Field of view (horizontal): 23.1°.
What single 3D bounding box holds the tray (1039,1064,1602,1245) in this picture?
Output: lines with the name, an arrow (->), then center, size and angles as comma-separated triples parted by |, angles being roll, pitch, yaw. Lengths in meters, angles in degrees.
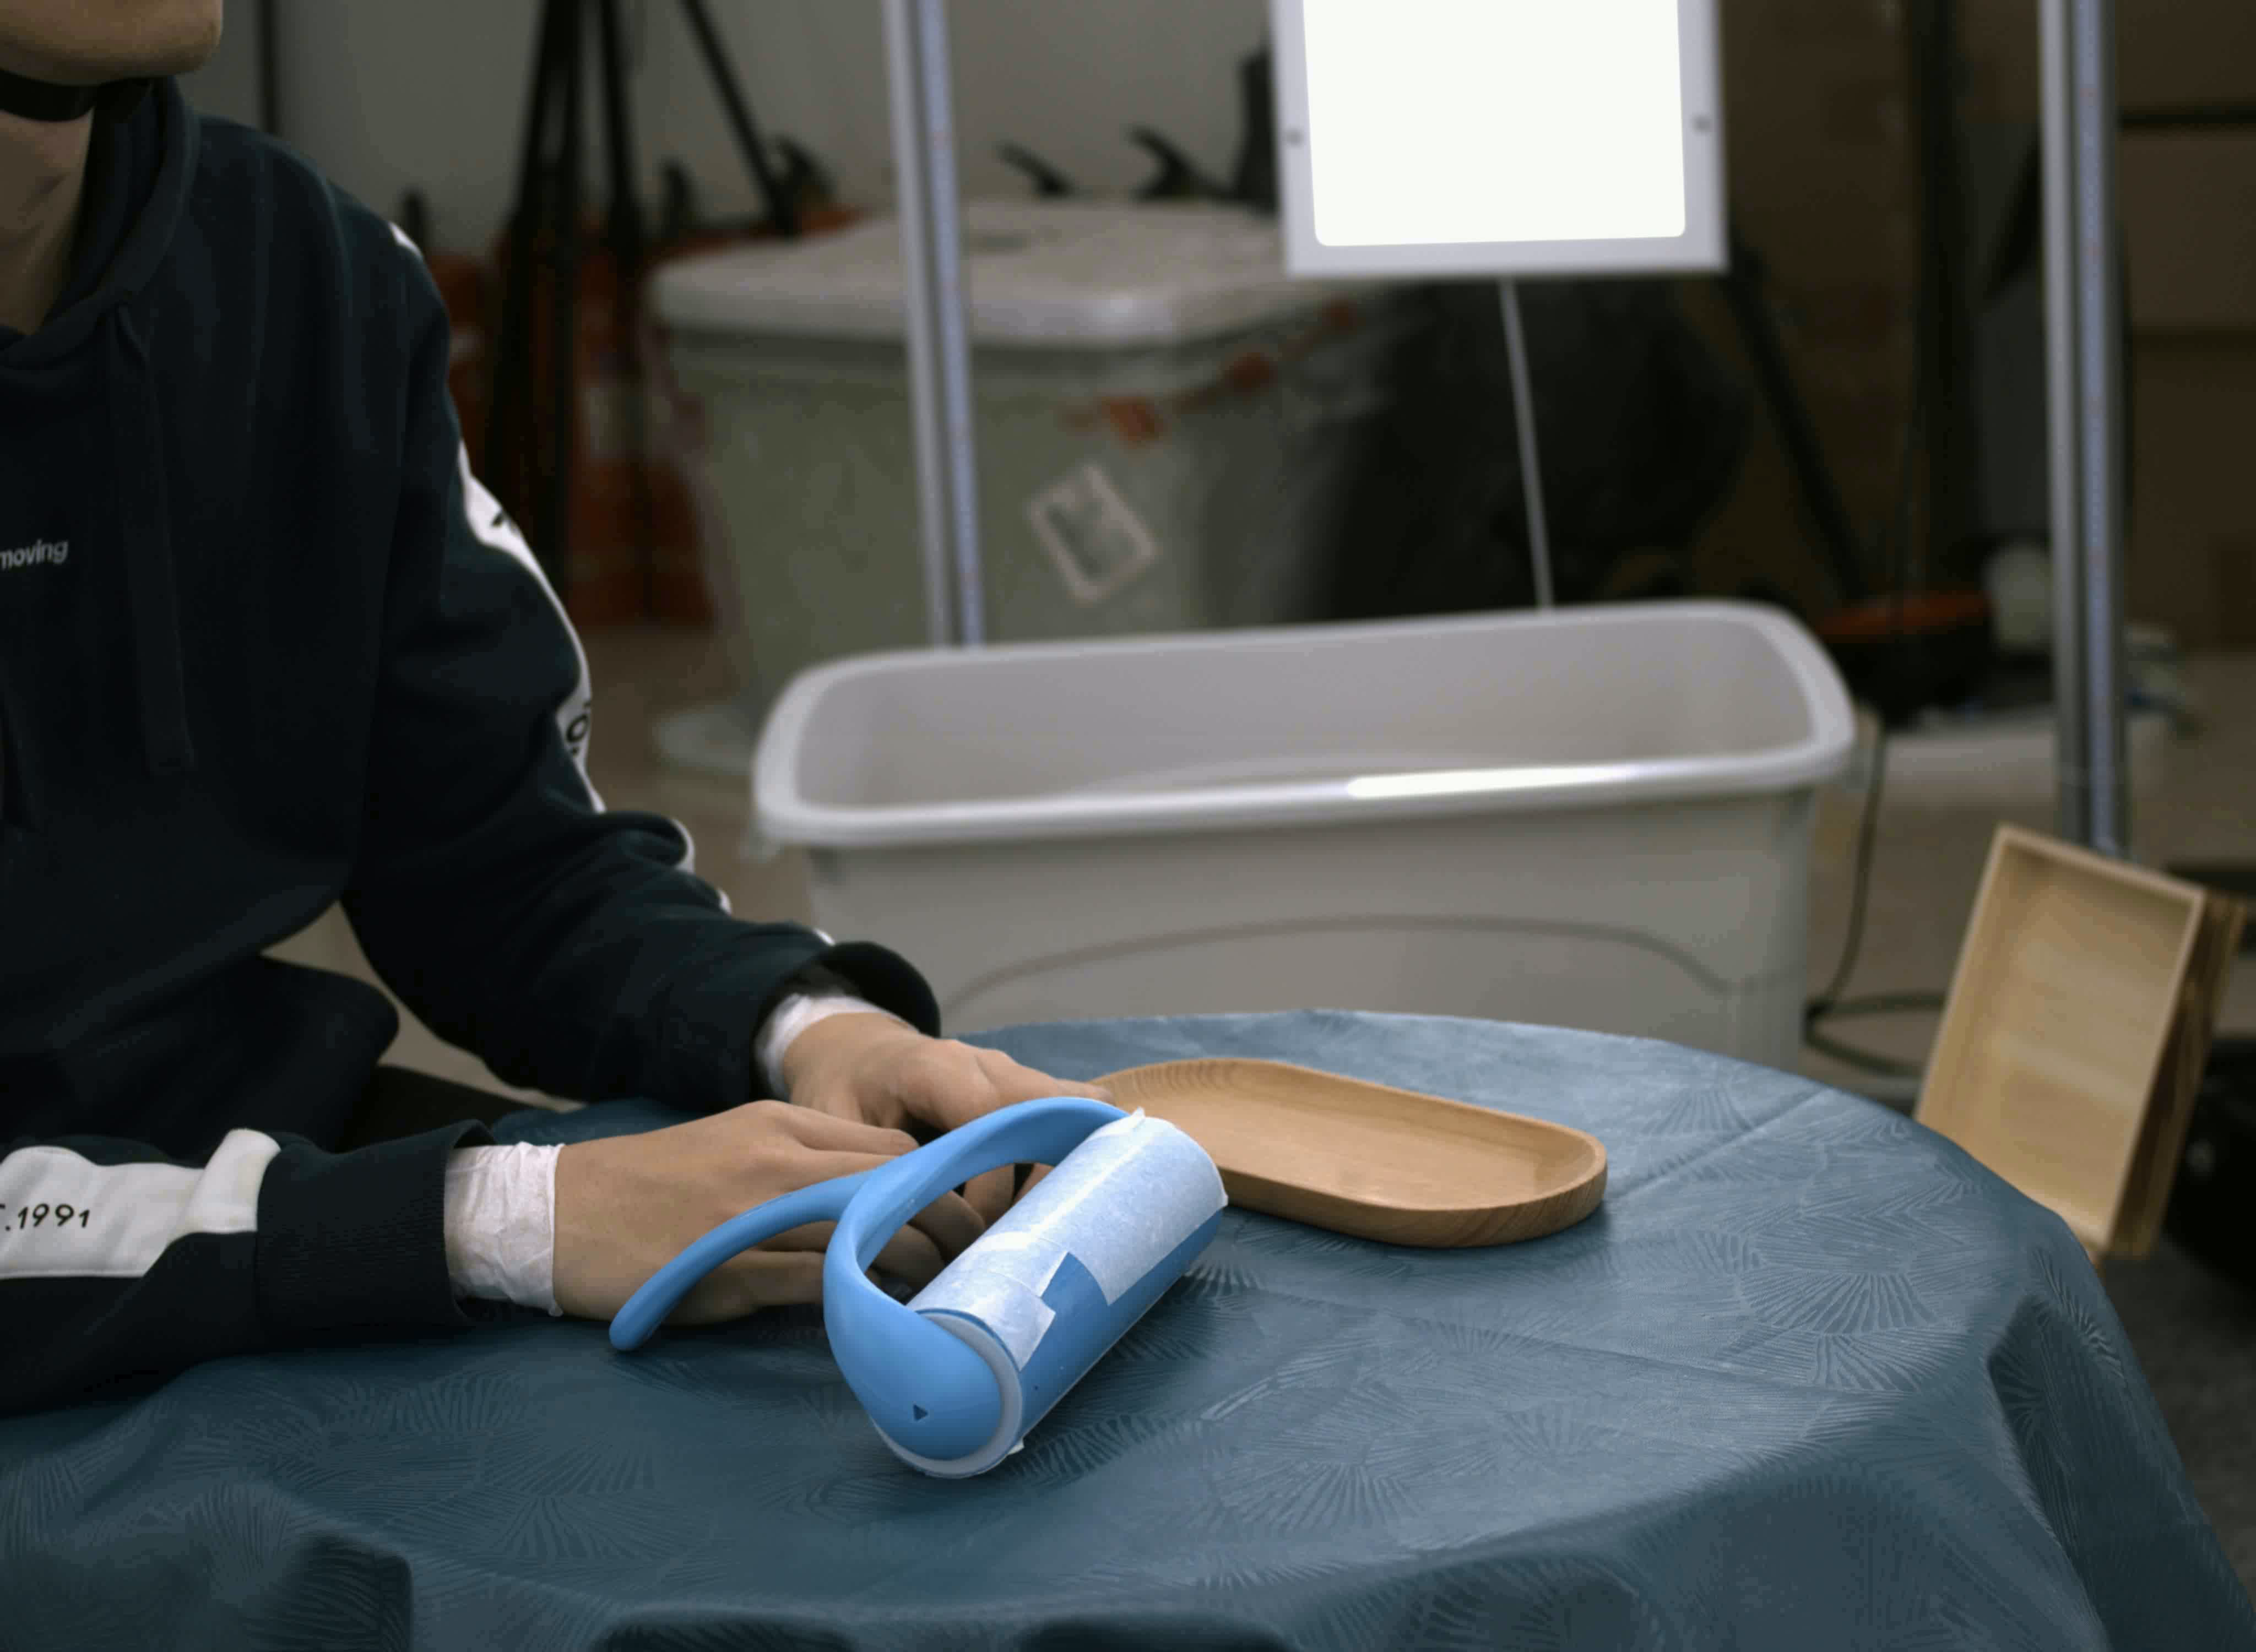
tray -> 0.064, 0.112, 1.896 | 0.099, 0.020, 0.236 | -16, 15, -41

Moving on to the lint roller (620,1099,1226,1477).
lint roller -> -0.079, 0.143, 1.738 | 0.182, 0.068, 0.225 | 0, 16, 18
